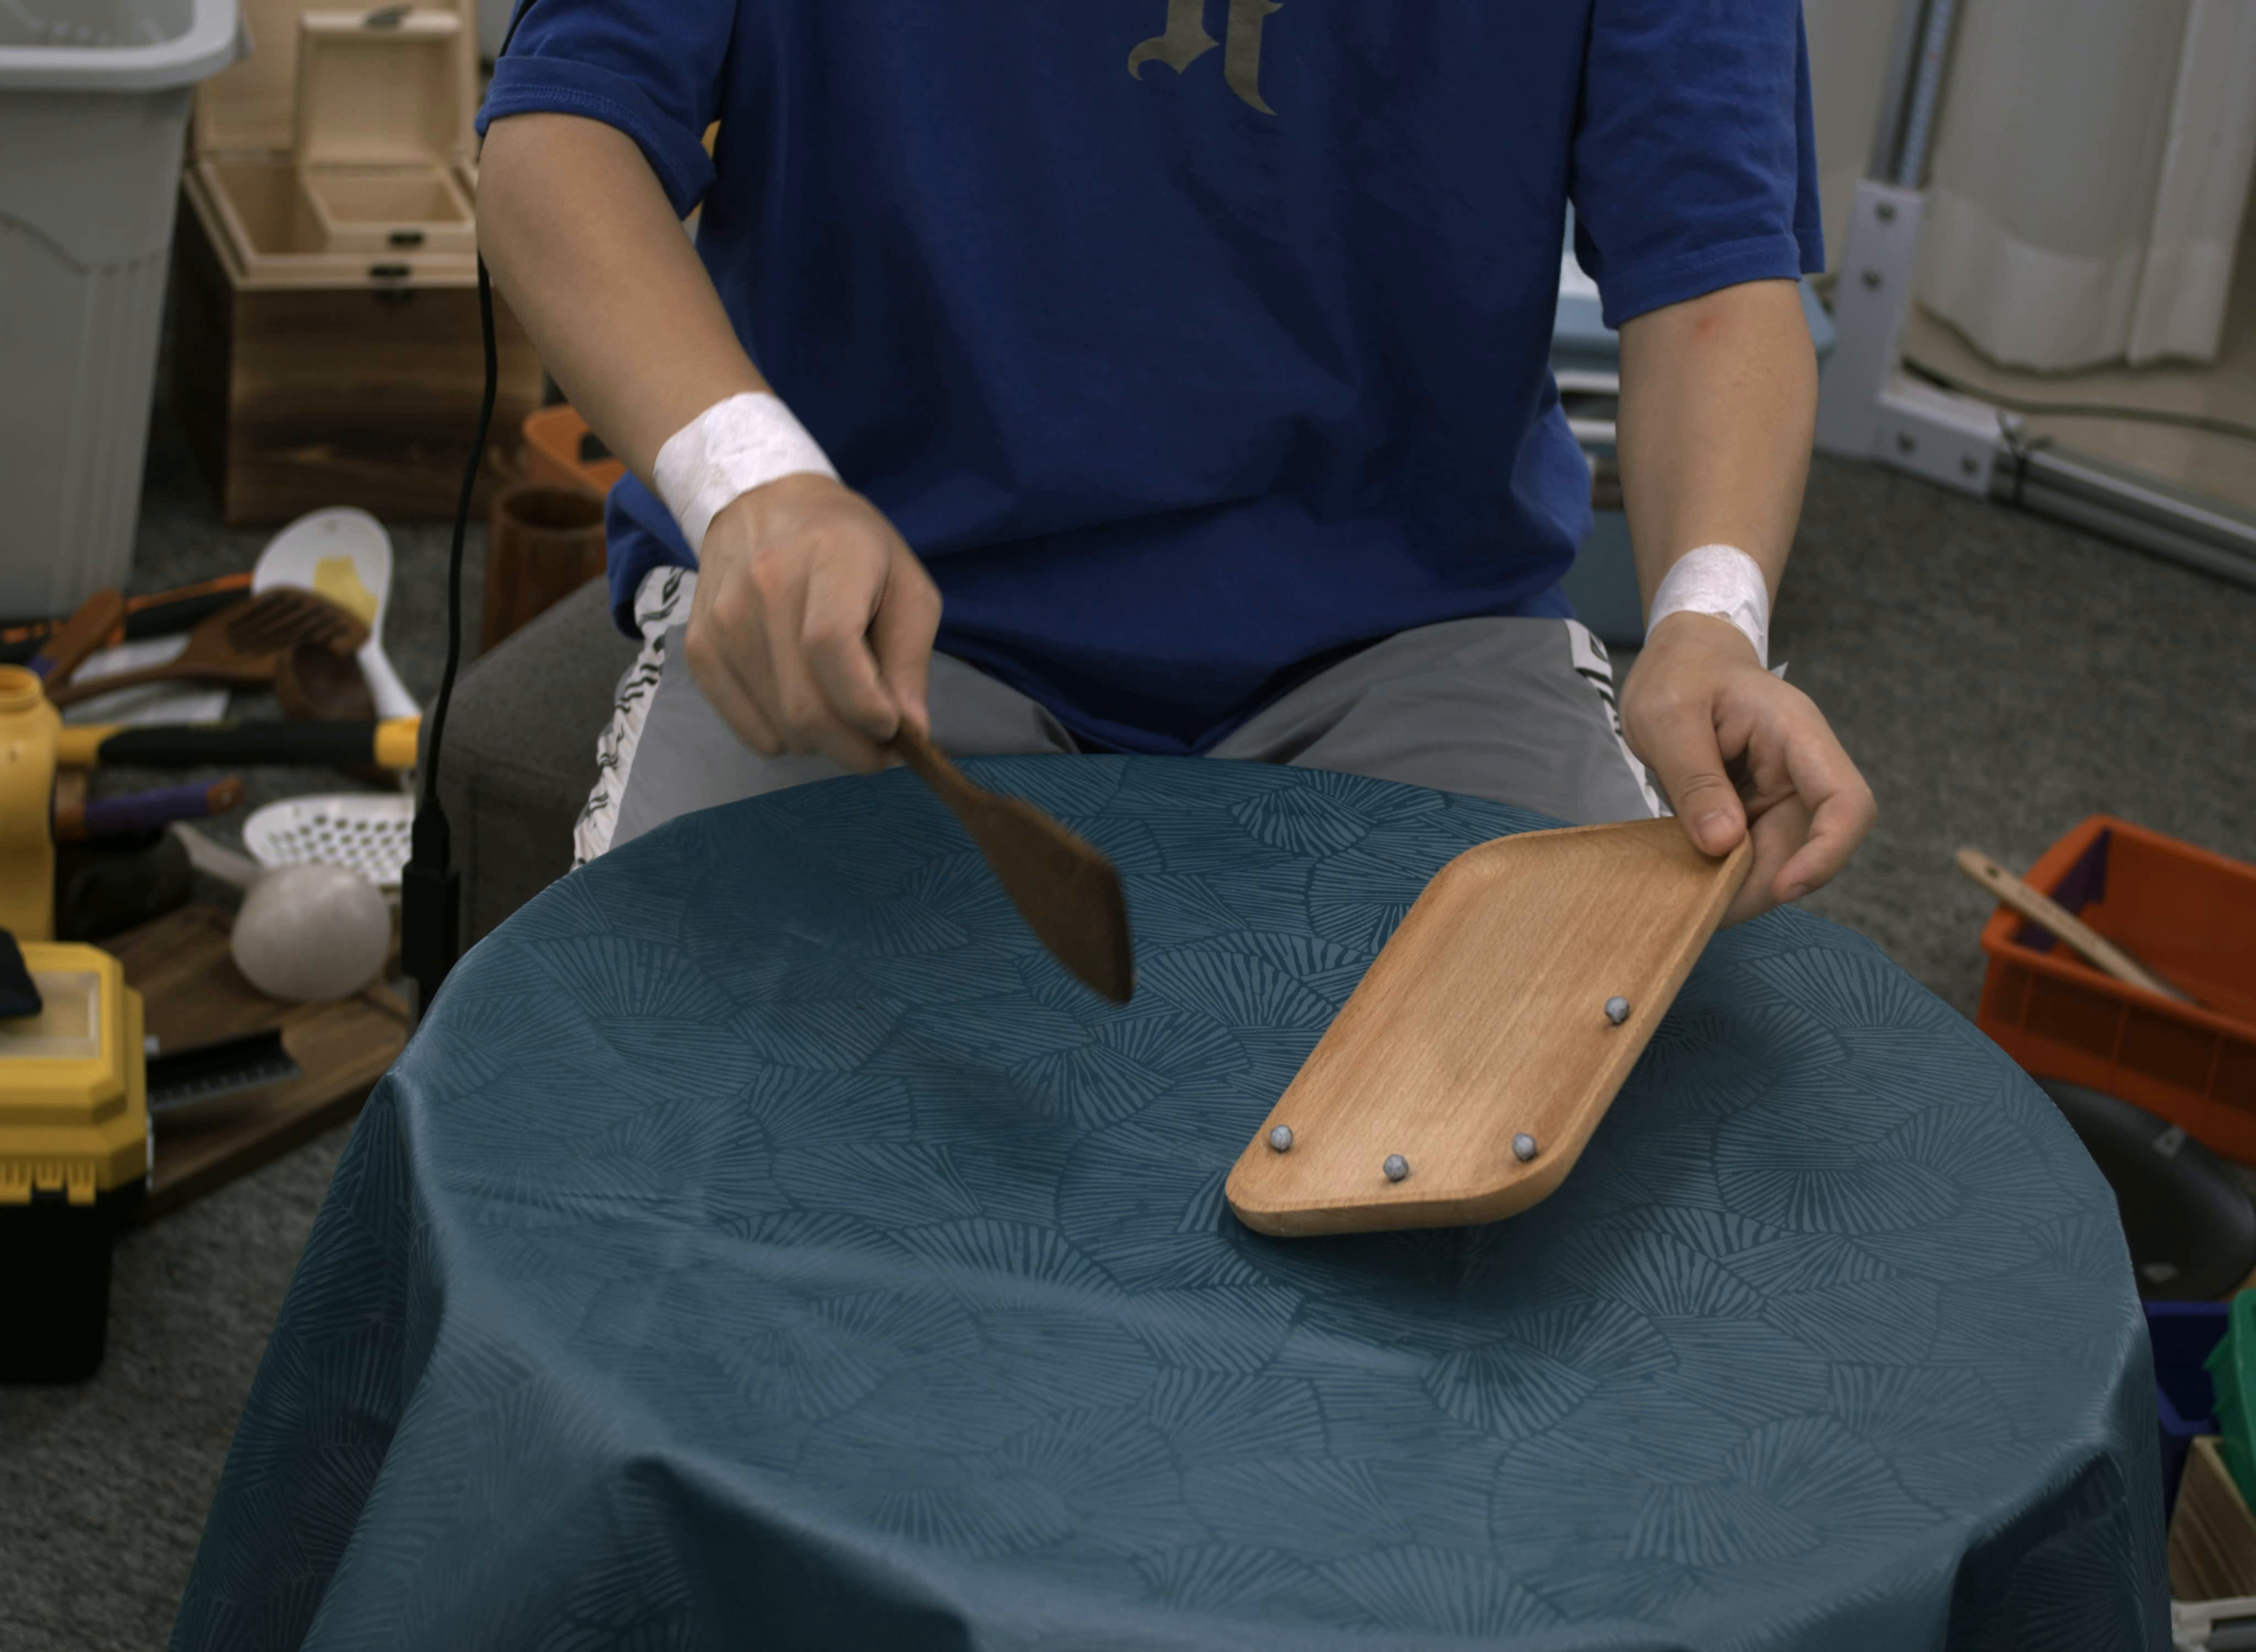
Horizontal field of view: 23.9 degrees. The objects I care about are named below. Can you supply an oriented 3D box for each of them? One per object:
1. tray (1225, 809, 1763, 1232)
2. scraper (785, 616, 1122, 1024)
[{"bbox_3d":[0.131,0.066,1.848,0.131,0.023,0.251,-3,28,31],"label":"tray"},{"bbox_3d":[-0.065,-0.010,1.873,0.011,0.075,0.213,-28,48,-20],"label":"scraper"}]
